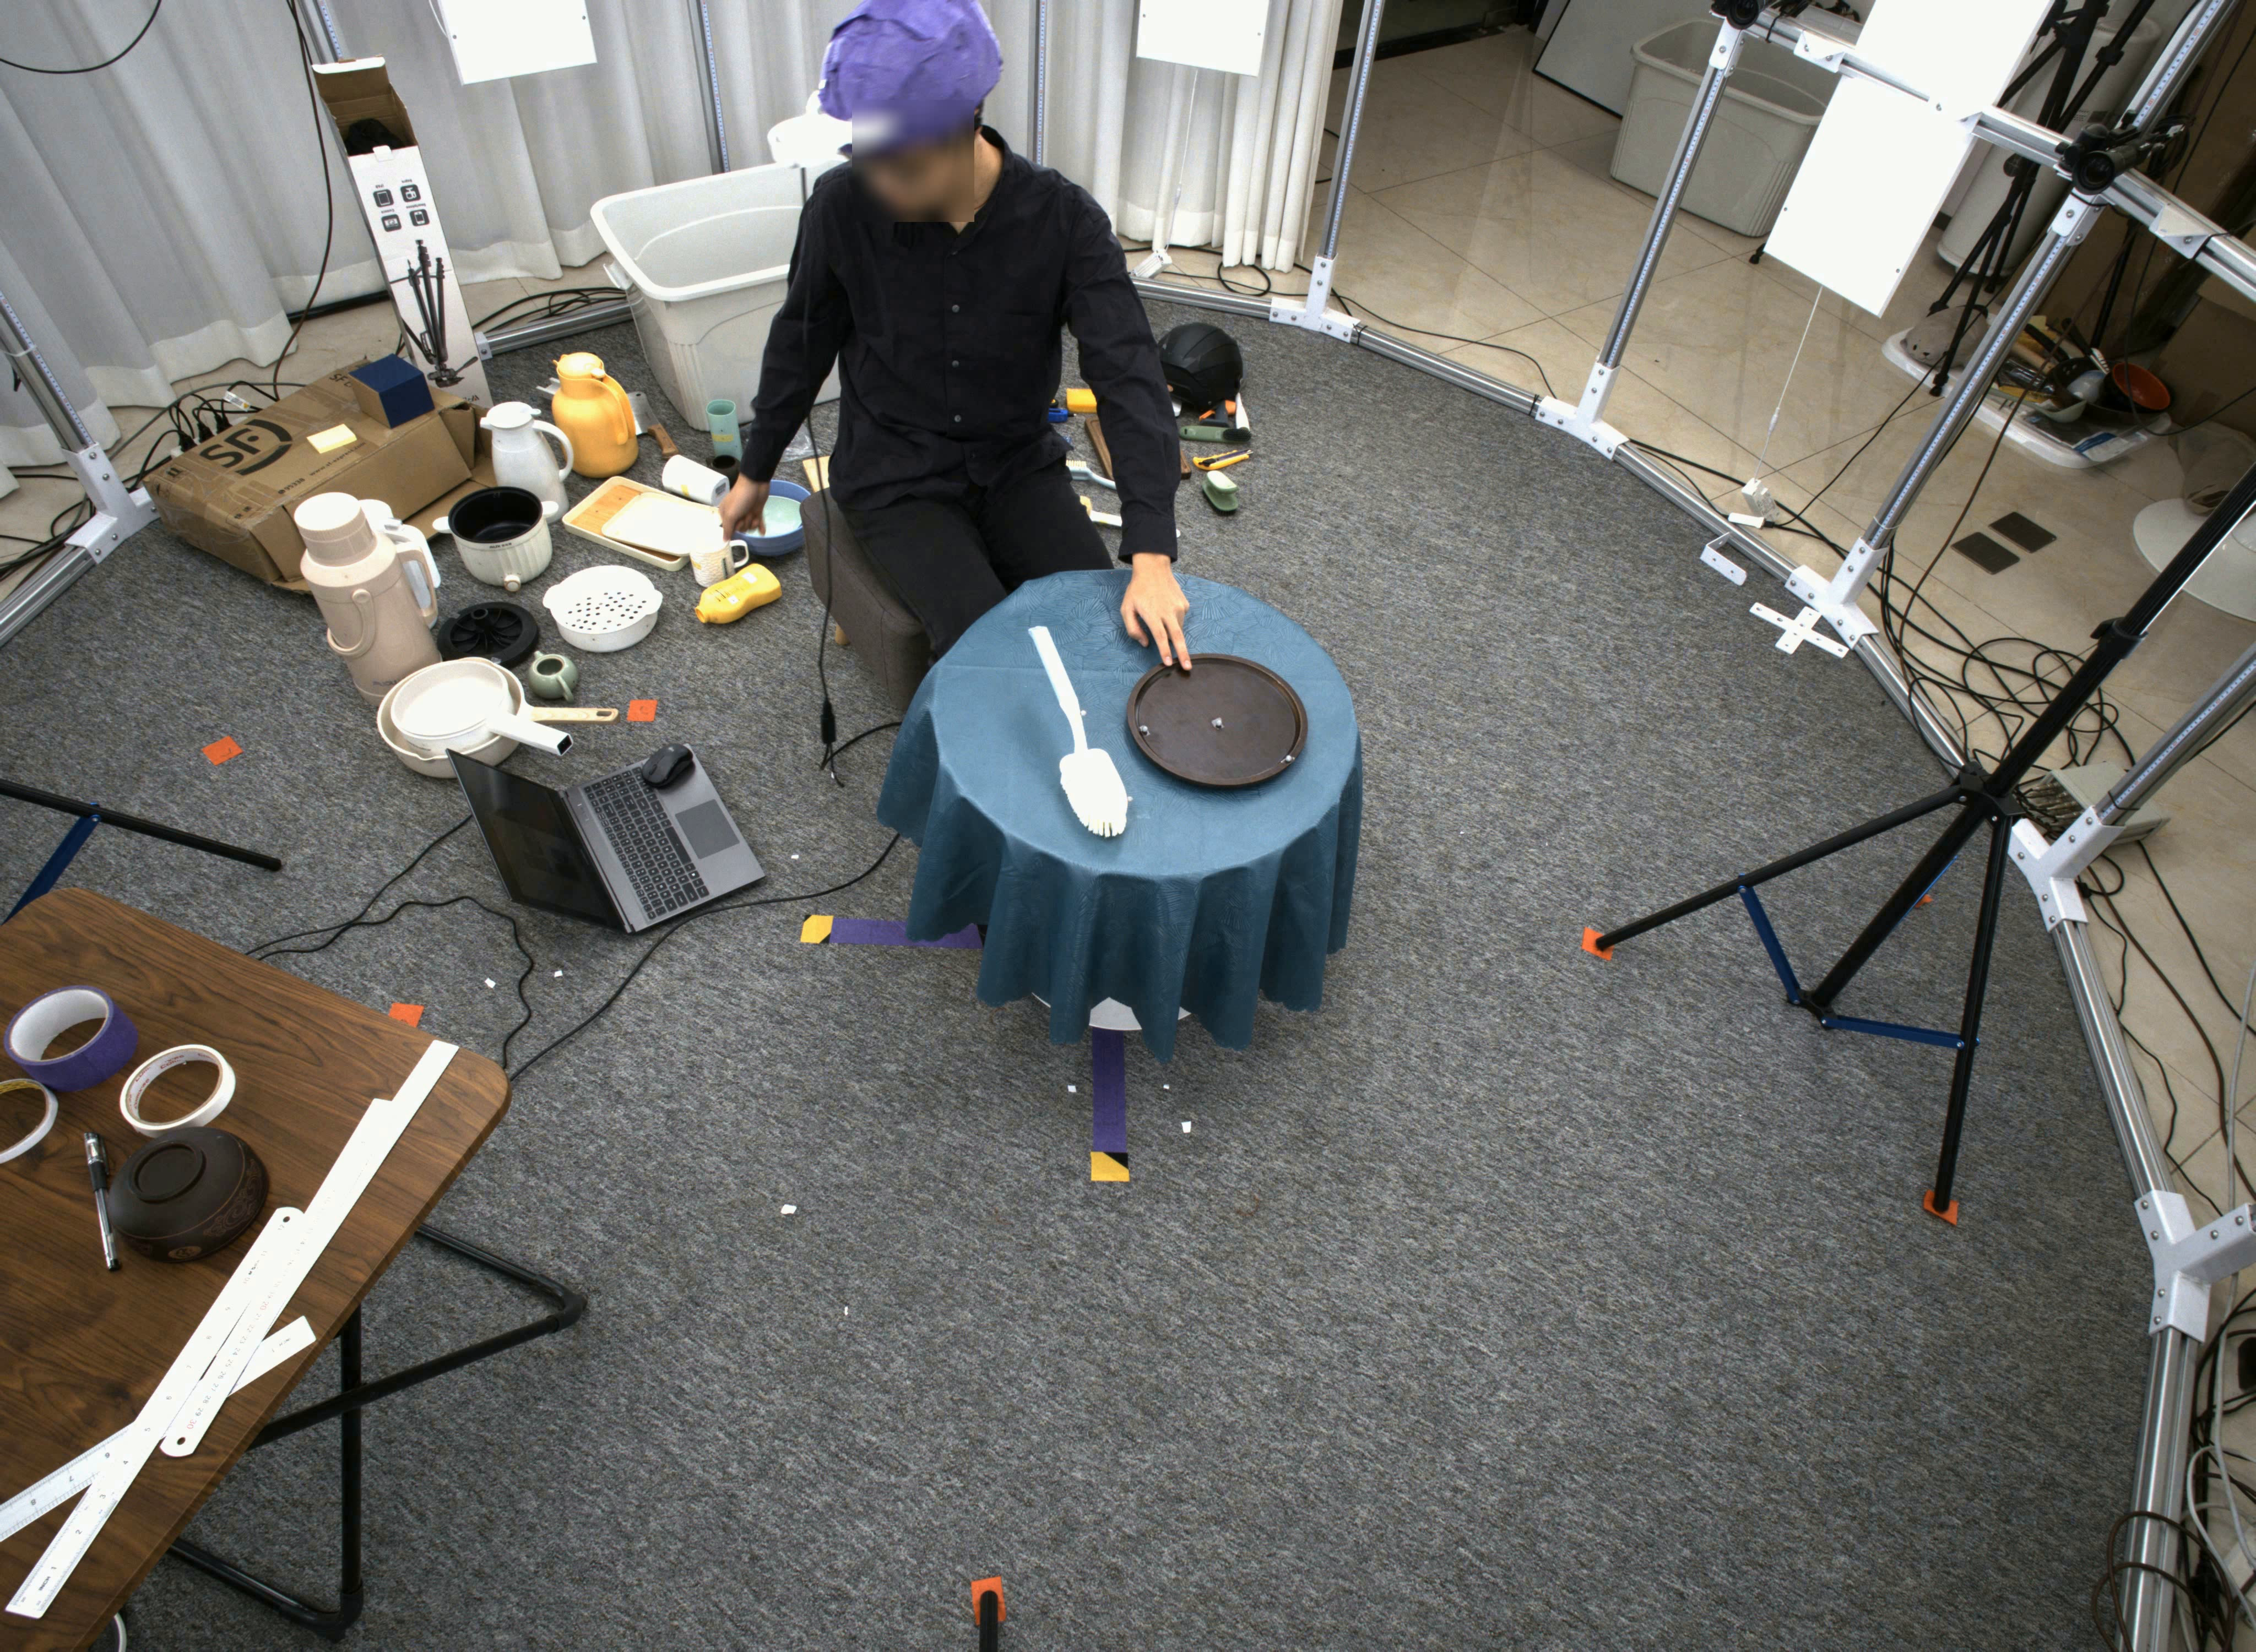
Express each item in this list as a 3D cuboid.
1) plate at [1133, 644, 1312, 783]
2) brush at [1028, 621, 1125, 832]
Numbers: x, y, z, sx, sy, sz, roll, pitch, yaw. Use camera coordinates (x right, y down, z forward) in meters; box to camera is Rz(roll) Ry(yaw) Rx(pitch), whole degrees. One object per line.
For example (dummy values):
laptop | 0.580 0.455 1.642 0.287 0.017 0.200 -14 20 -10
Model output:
plate | 0.132 -0.158 1.798 0.254 0.028 0.261 1 51 -2
brush | -0.072 -0.132 1.724 0.082 0.083 0.332 10 50 -48
